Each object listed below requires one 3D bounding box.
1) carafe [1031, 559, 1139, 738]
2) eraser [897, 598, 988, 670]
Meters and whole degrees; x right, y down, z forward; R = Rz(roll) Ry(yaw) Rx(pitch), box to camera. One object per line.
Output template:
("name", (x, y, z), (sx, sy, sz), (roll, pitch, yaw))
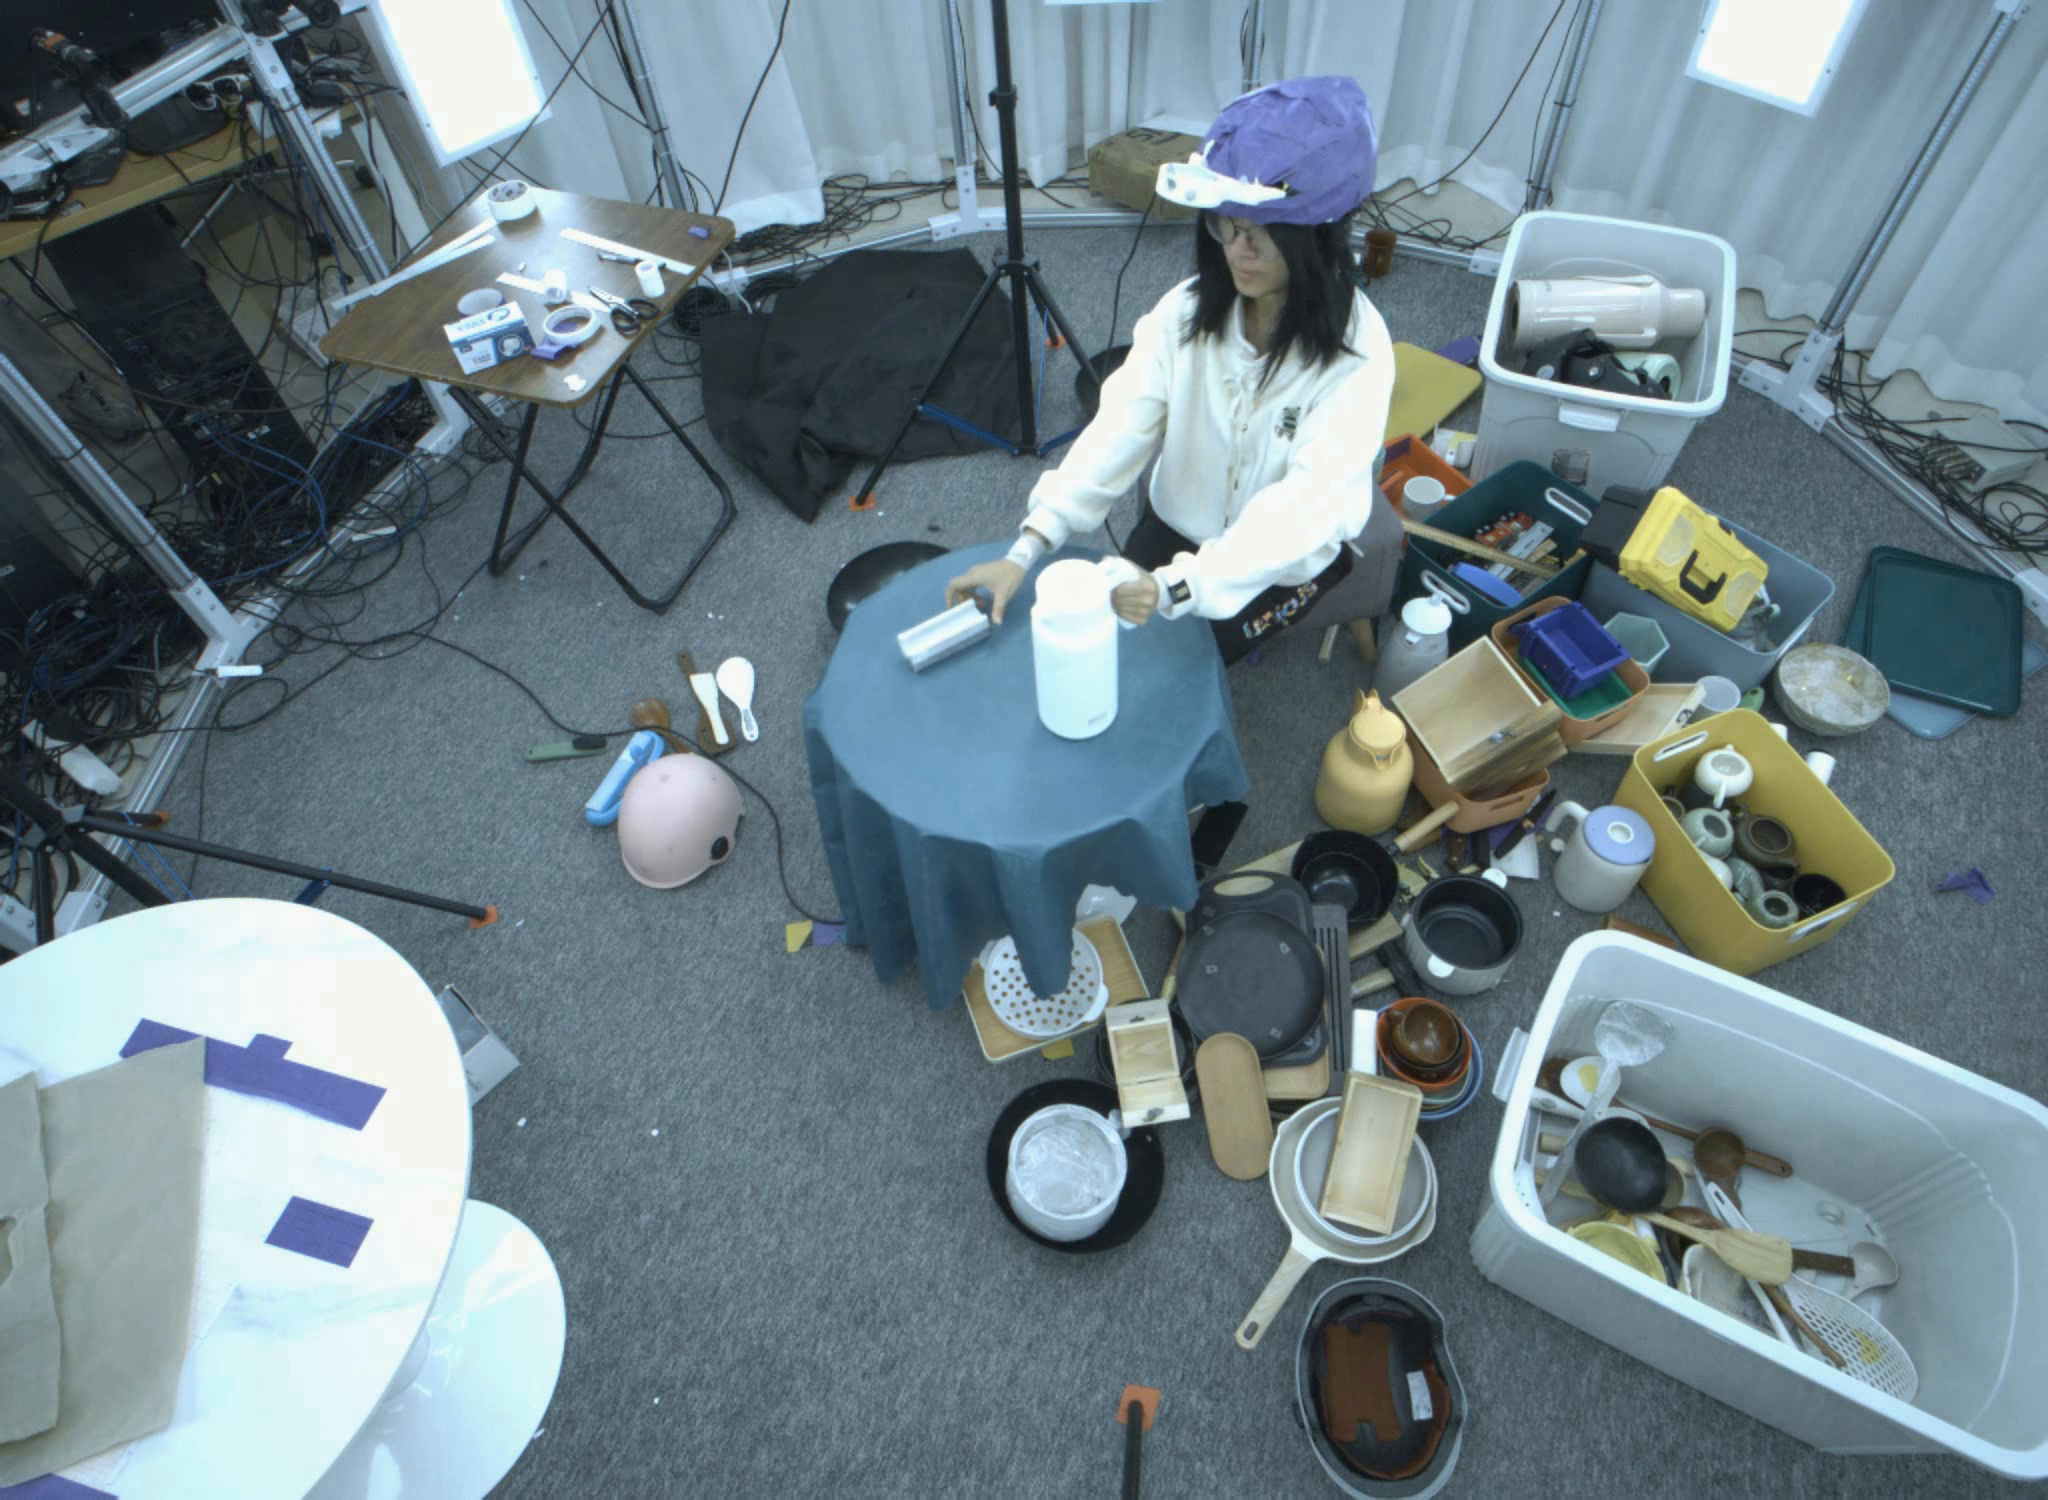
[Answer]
("carafe", (0.086, -0.147, 1.725), (0.174, 0.272, 0.121), (-35, 57, -19))
("eraser", (-0.125, -0.178, 1.889), (0.135, 0.047, 0.049), (-31, 57, -18))
